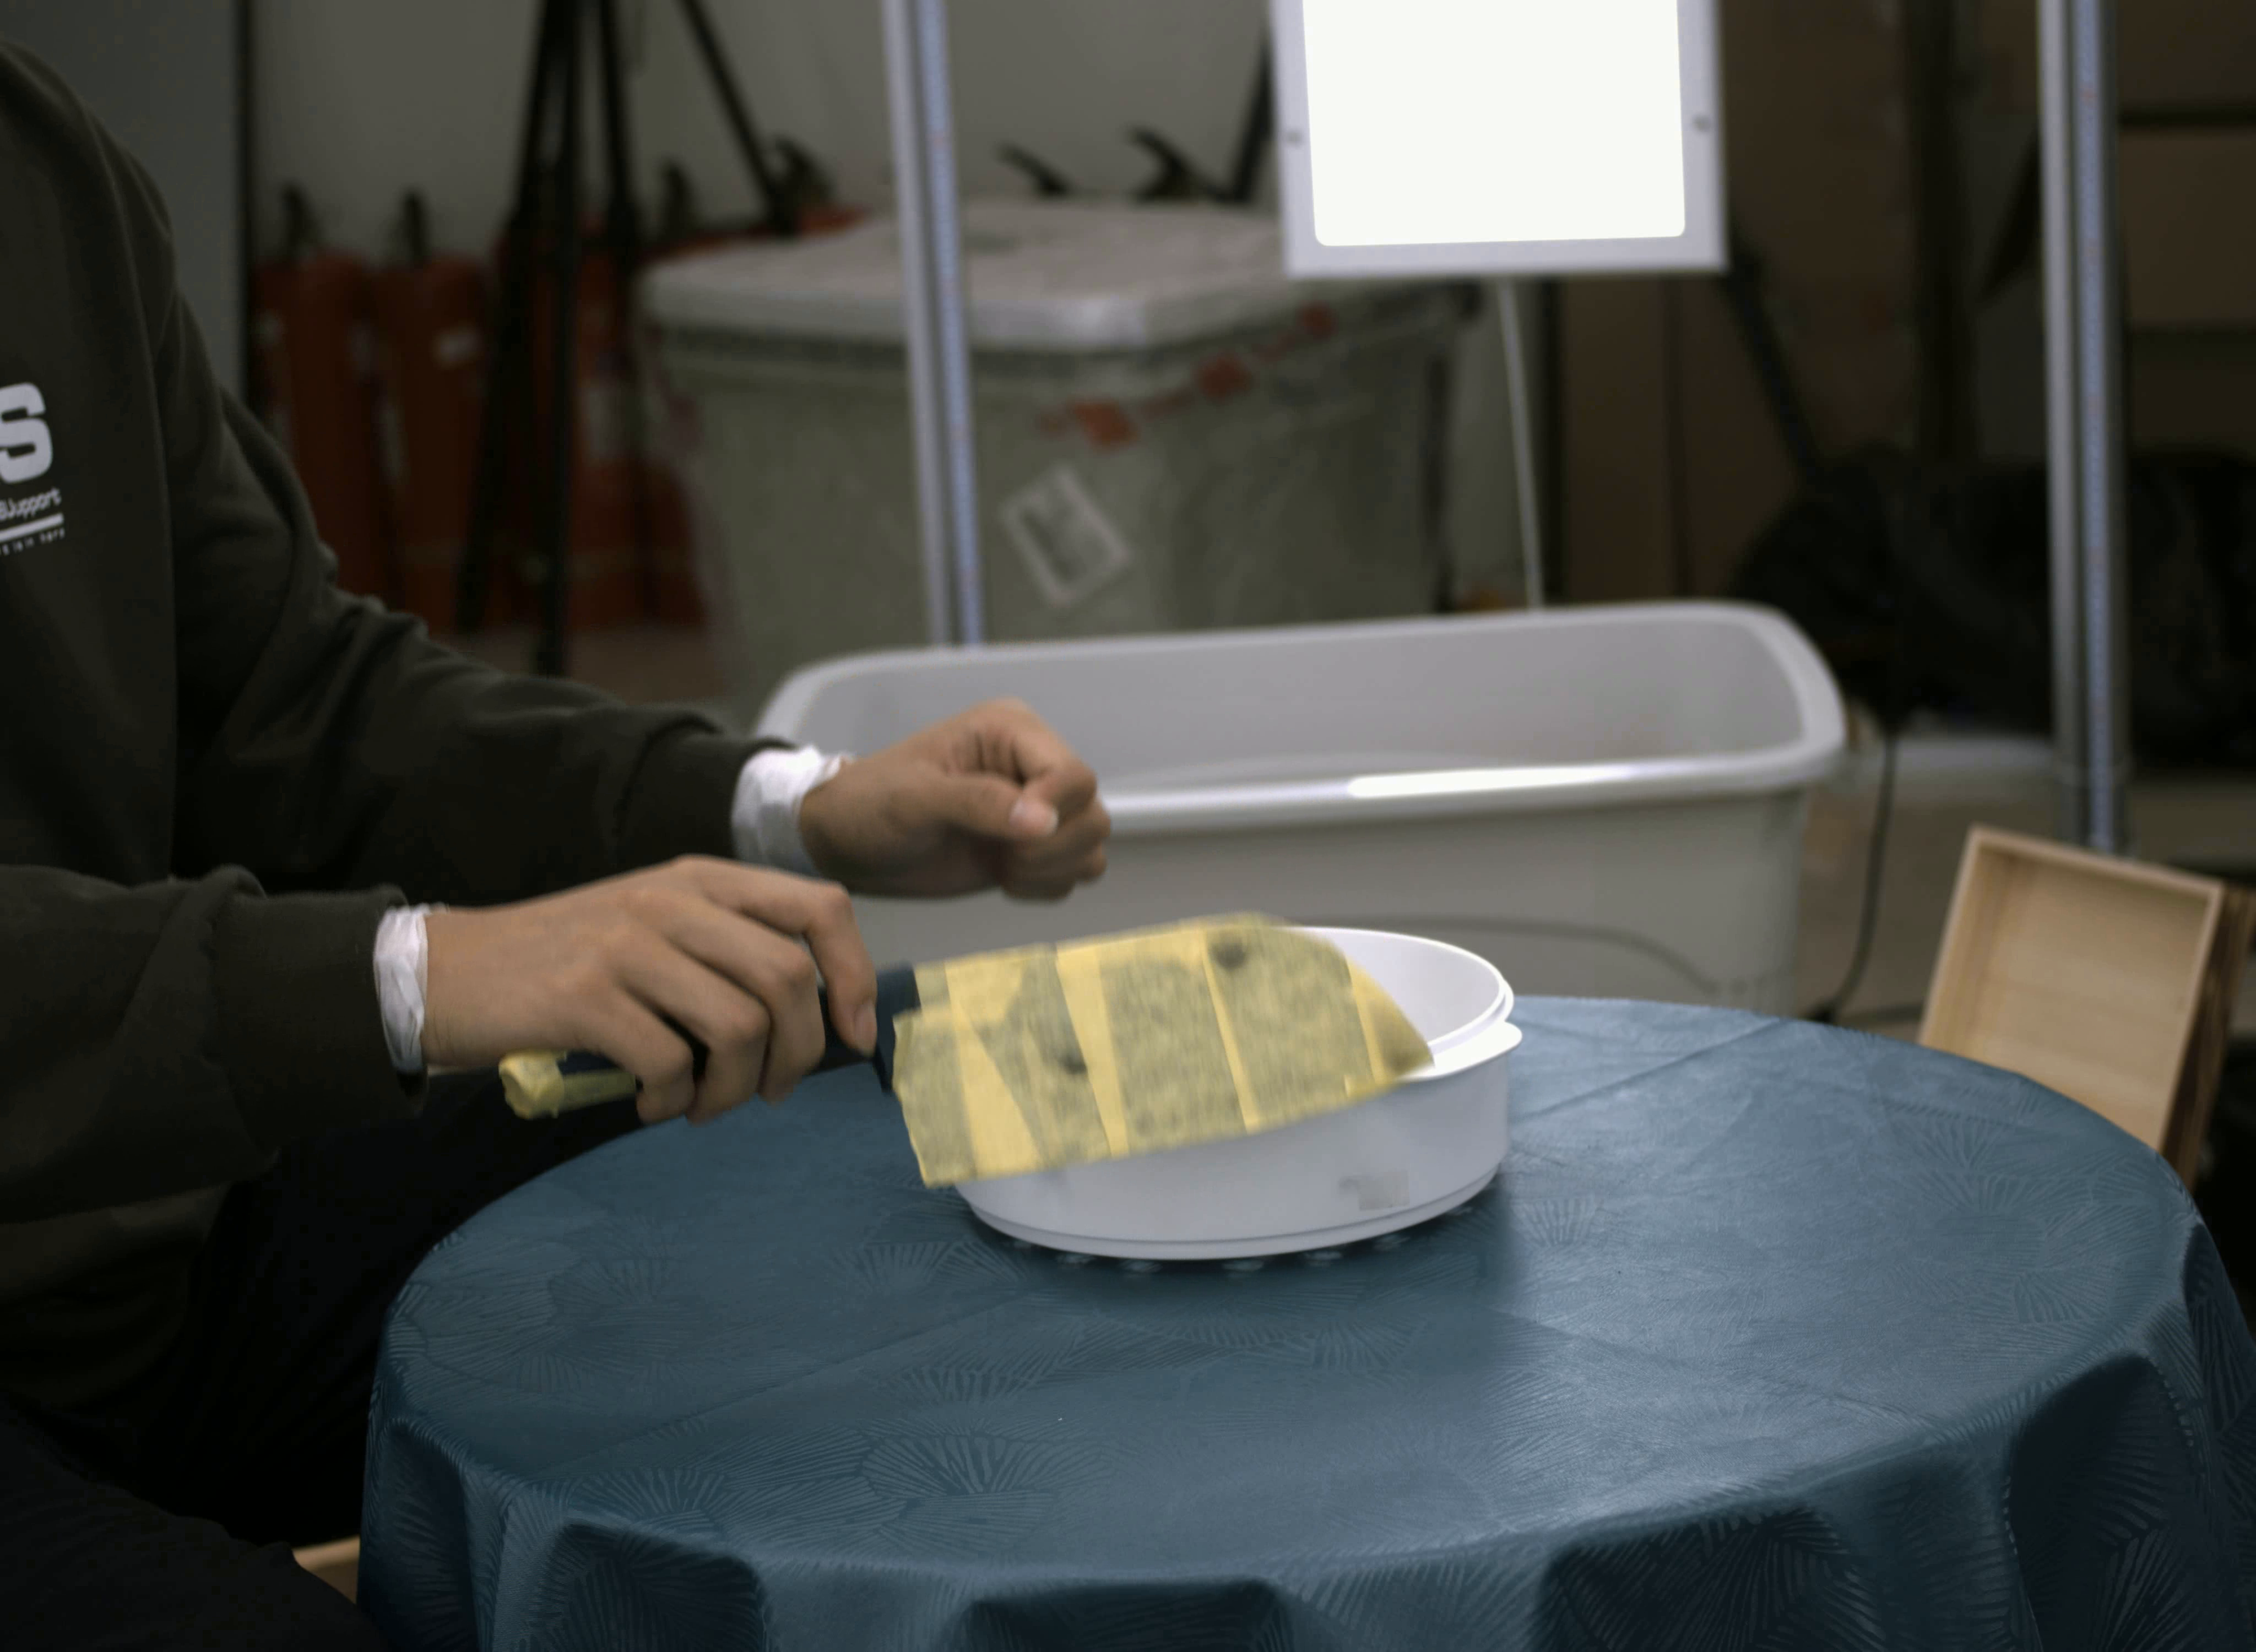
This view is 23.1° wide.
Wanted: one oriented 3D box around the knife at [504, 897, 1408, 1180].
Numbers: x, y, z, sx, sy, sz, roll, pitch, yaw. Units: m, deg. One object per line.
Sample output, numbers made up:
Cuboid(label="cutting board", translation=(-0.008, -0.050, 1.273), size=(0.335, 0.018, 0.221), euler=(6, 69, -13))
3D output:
Cuboid(label="knife", translation=(-0.050, 0.071, 1.724), size=(0.286, 0.081, 0.027), euler=(-8, -24, -9))

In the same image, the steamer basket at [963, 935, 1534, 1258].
Cuboid(label="steamer basket", translation=(0.038, 0.092, 1.885), size=(0.235, 0.069, 0.197), euler=(7, 17, 43))
